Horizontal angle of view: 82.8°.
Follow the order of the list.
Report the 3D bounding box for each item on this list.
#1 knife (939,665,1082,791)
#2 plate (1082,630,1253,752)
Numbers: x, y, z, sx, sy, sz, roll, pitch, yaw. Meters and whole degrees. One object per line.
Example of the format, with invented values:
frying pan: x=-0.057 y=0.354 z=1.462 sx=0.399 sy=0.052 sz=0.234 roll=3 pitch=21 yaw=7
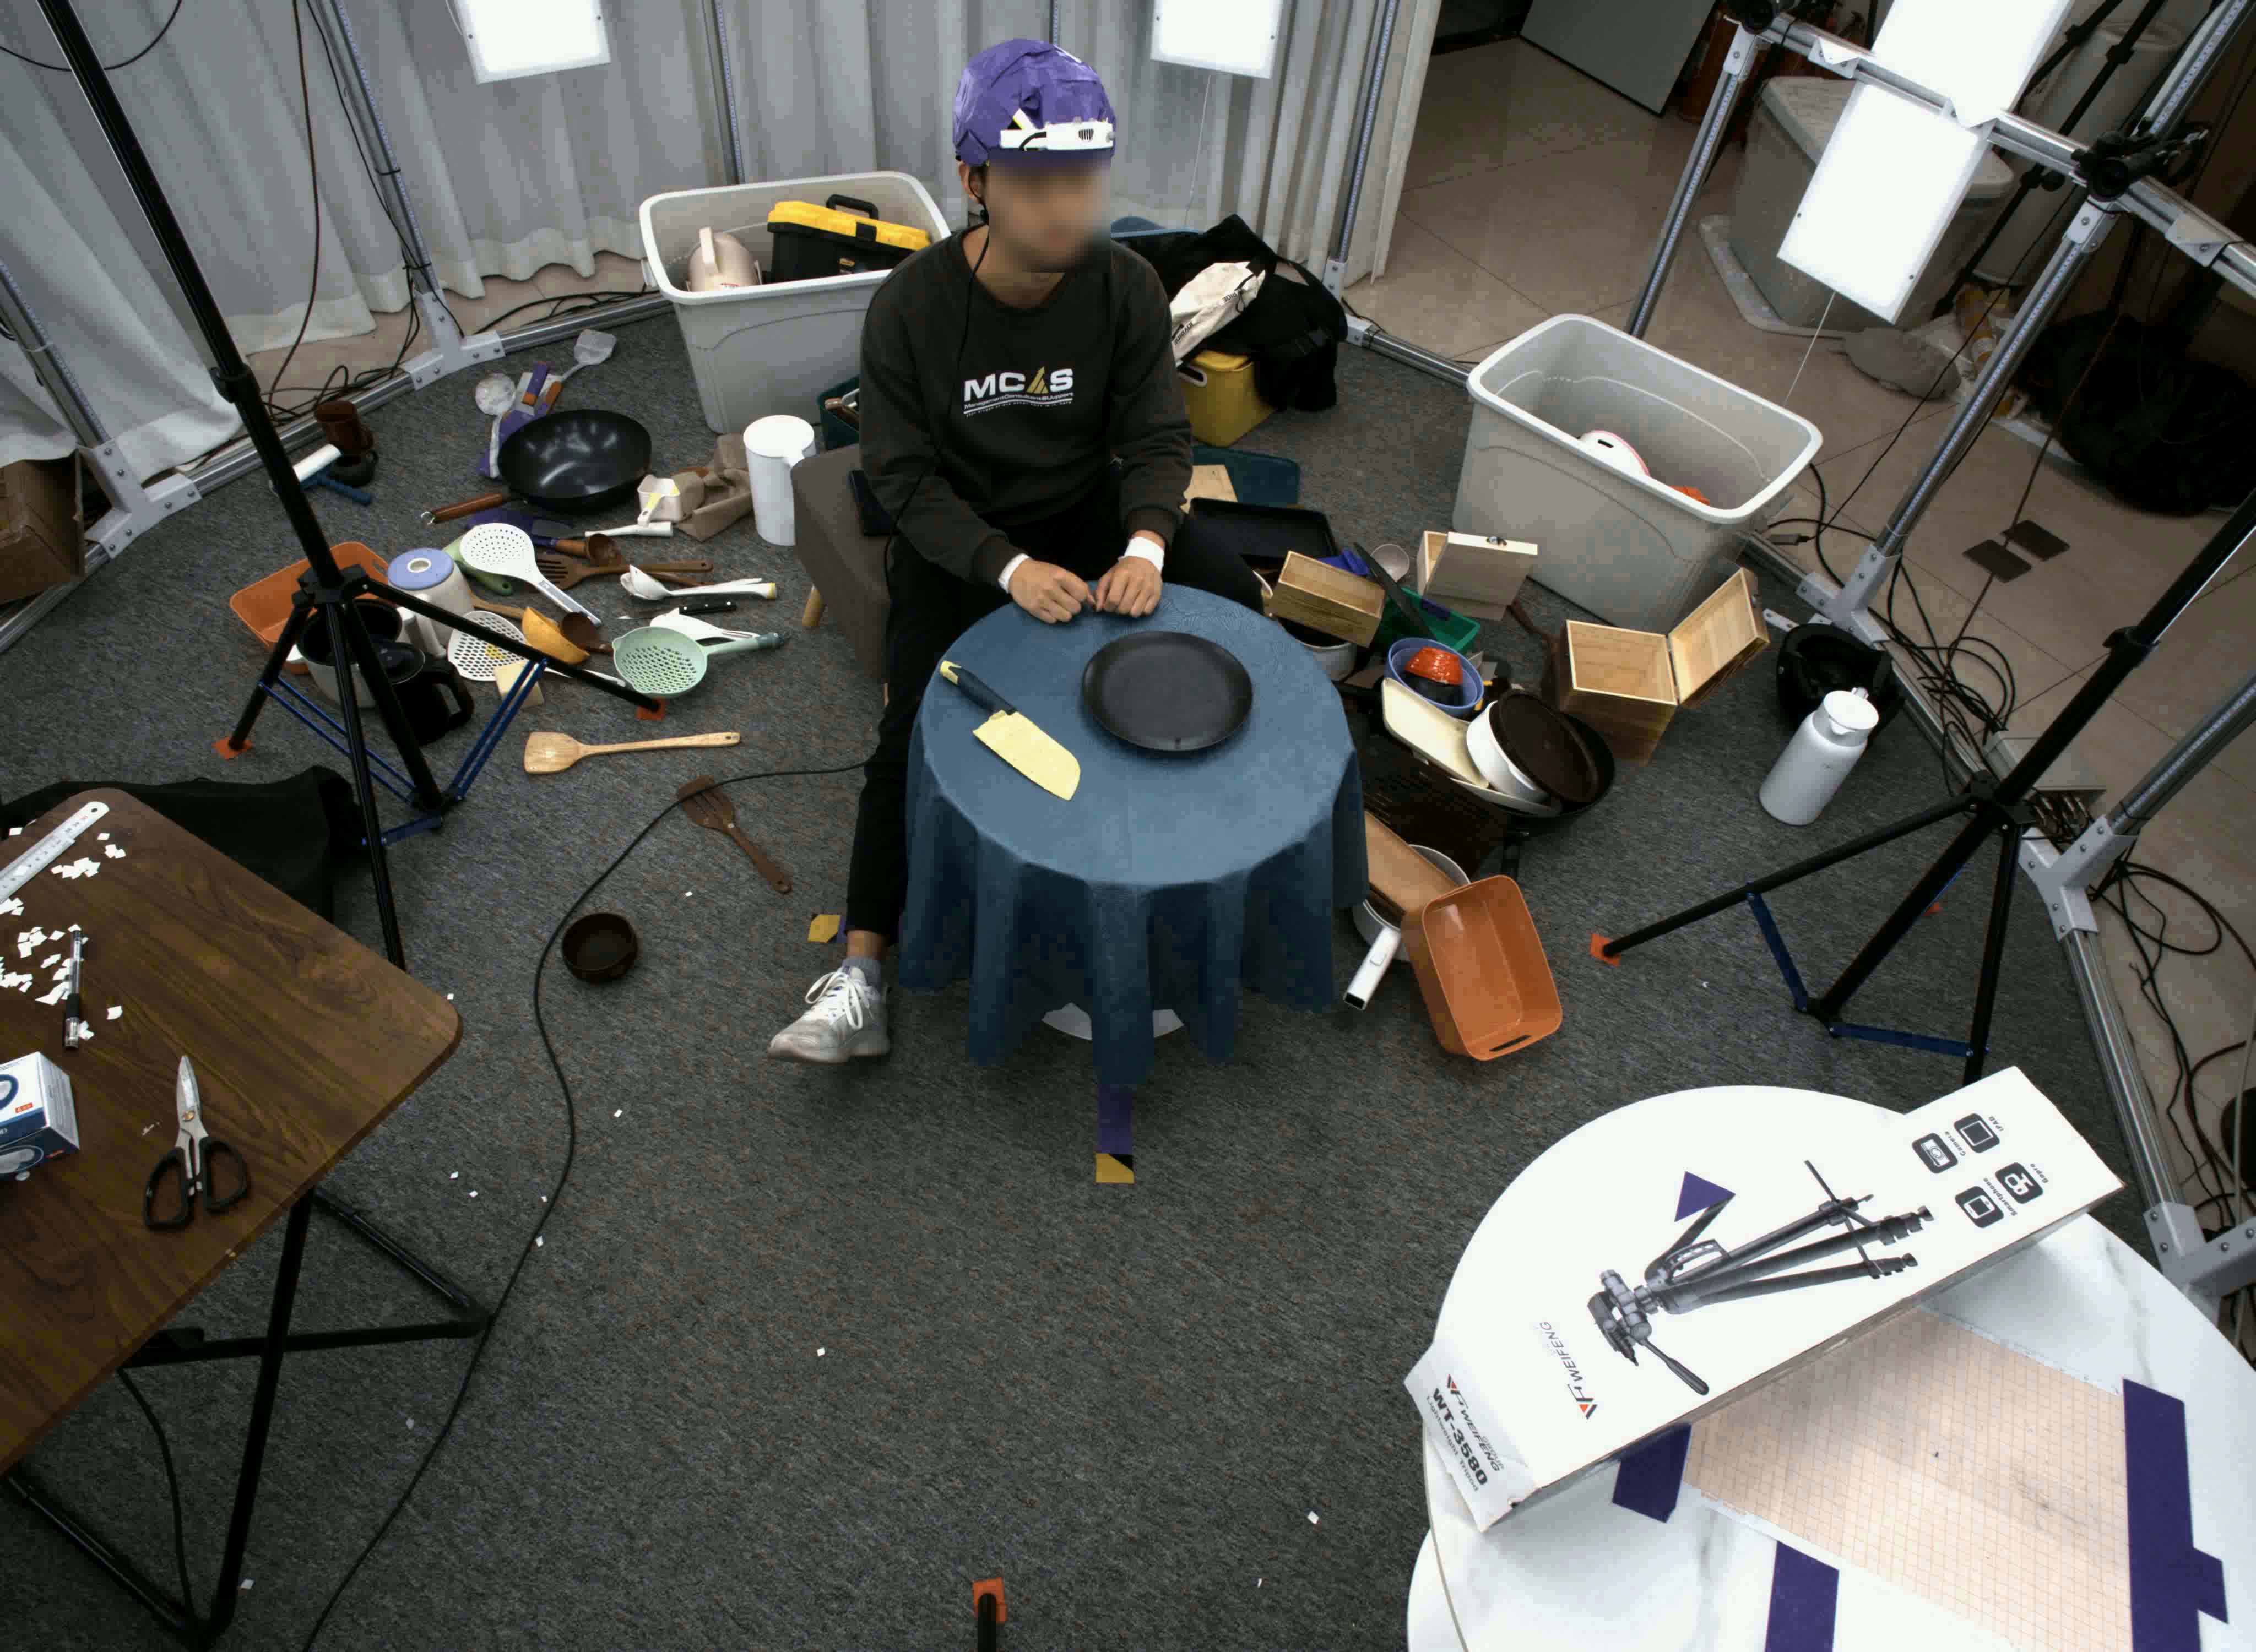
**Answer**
knife: x=-0.169 y=-0.133 z=1.762 sx=0.082 sy=0.026 sz=0.294 roll=-34 pitch=60 yaw=-30
plate: x=0.056 y=-0.190 z=1.820 sx=0.244 sy=0.023 sz=0.250 roll=2 pitch=49 yaw=-2
